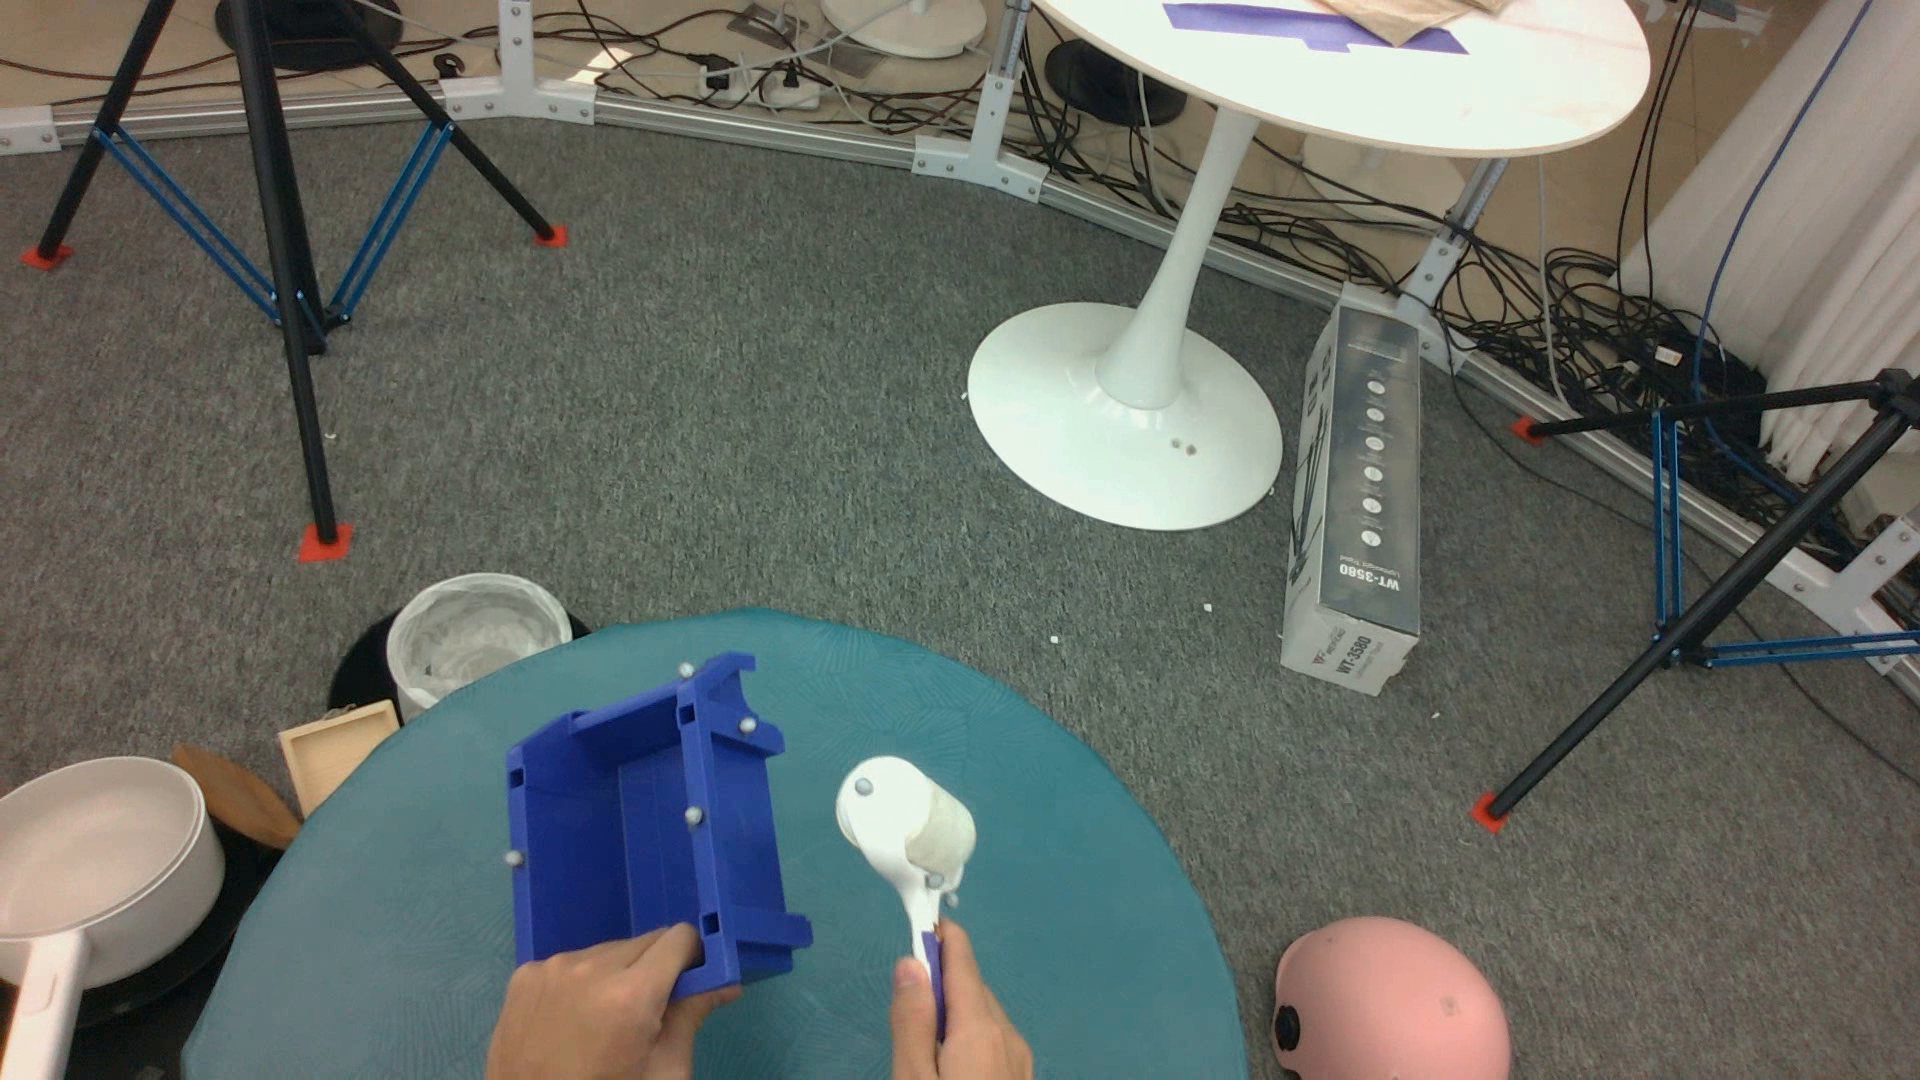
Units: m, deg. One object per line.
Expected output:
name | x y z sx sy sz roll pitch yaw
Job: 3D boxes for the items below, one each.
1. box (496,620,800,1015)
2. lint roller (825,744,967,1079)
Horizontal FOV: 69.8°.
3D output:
box | -0.165 0.139 0.712 0.124 0.082 0.180 -21 66 19
lint roller | -0.011 0.191 0.662 0.050 0.132 0.181 -22 65 3
